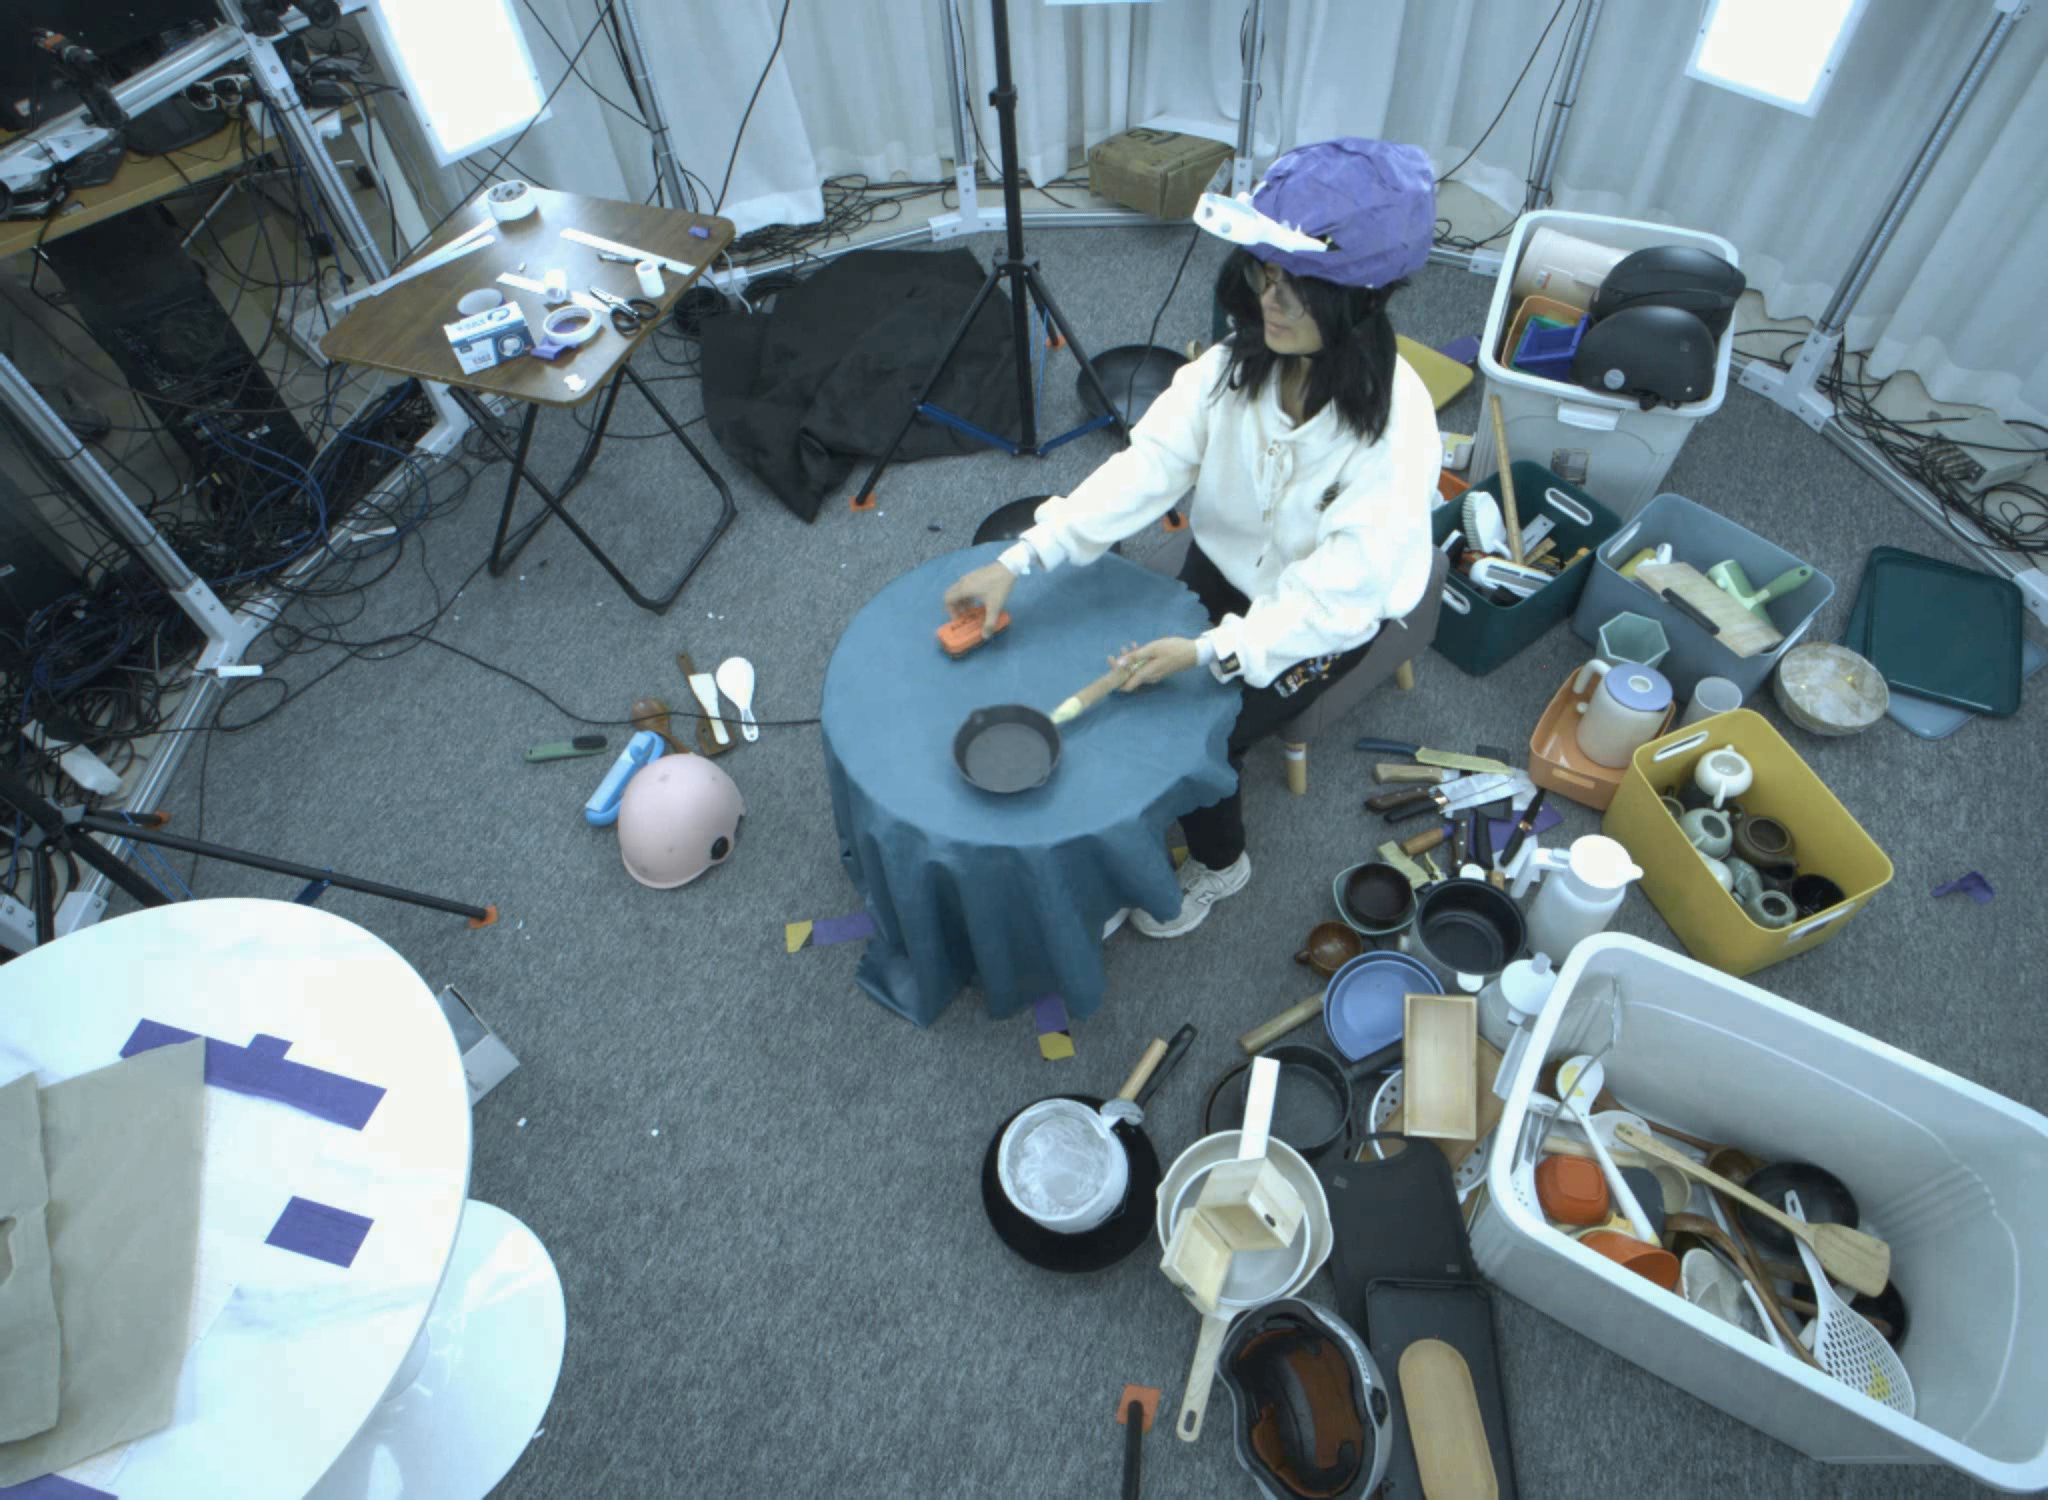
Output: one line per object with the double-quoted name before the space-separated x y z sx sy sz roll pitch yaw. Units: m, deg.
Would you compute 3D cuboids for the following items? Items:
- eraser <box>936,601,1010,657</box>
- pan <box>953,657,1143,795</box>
"eraser" -0.079 -0.189 1.905 0.109 0.023 0.058 -32 52 -19
"pan" 0.046 -0.043 1.786 0.326 0.050 0.166 -32 59 -17
